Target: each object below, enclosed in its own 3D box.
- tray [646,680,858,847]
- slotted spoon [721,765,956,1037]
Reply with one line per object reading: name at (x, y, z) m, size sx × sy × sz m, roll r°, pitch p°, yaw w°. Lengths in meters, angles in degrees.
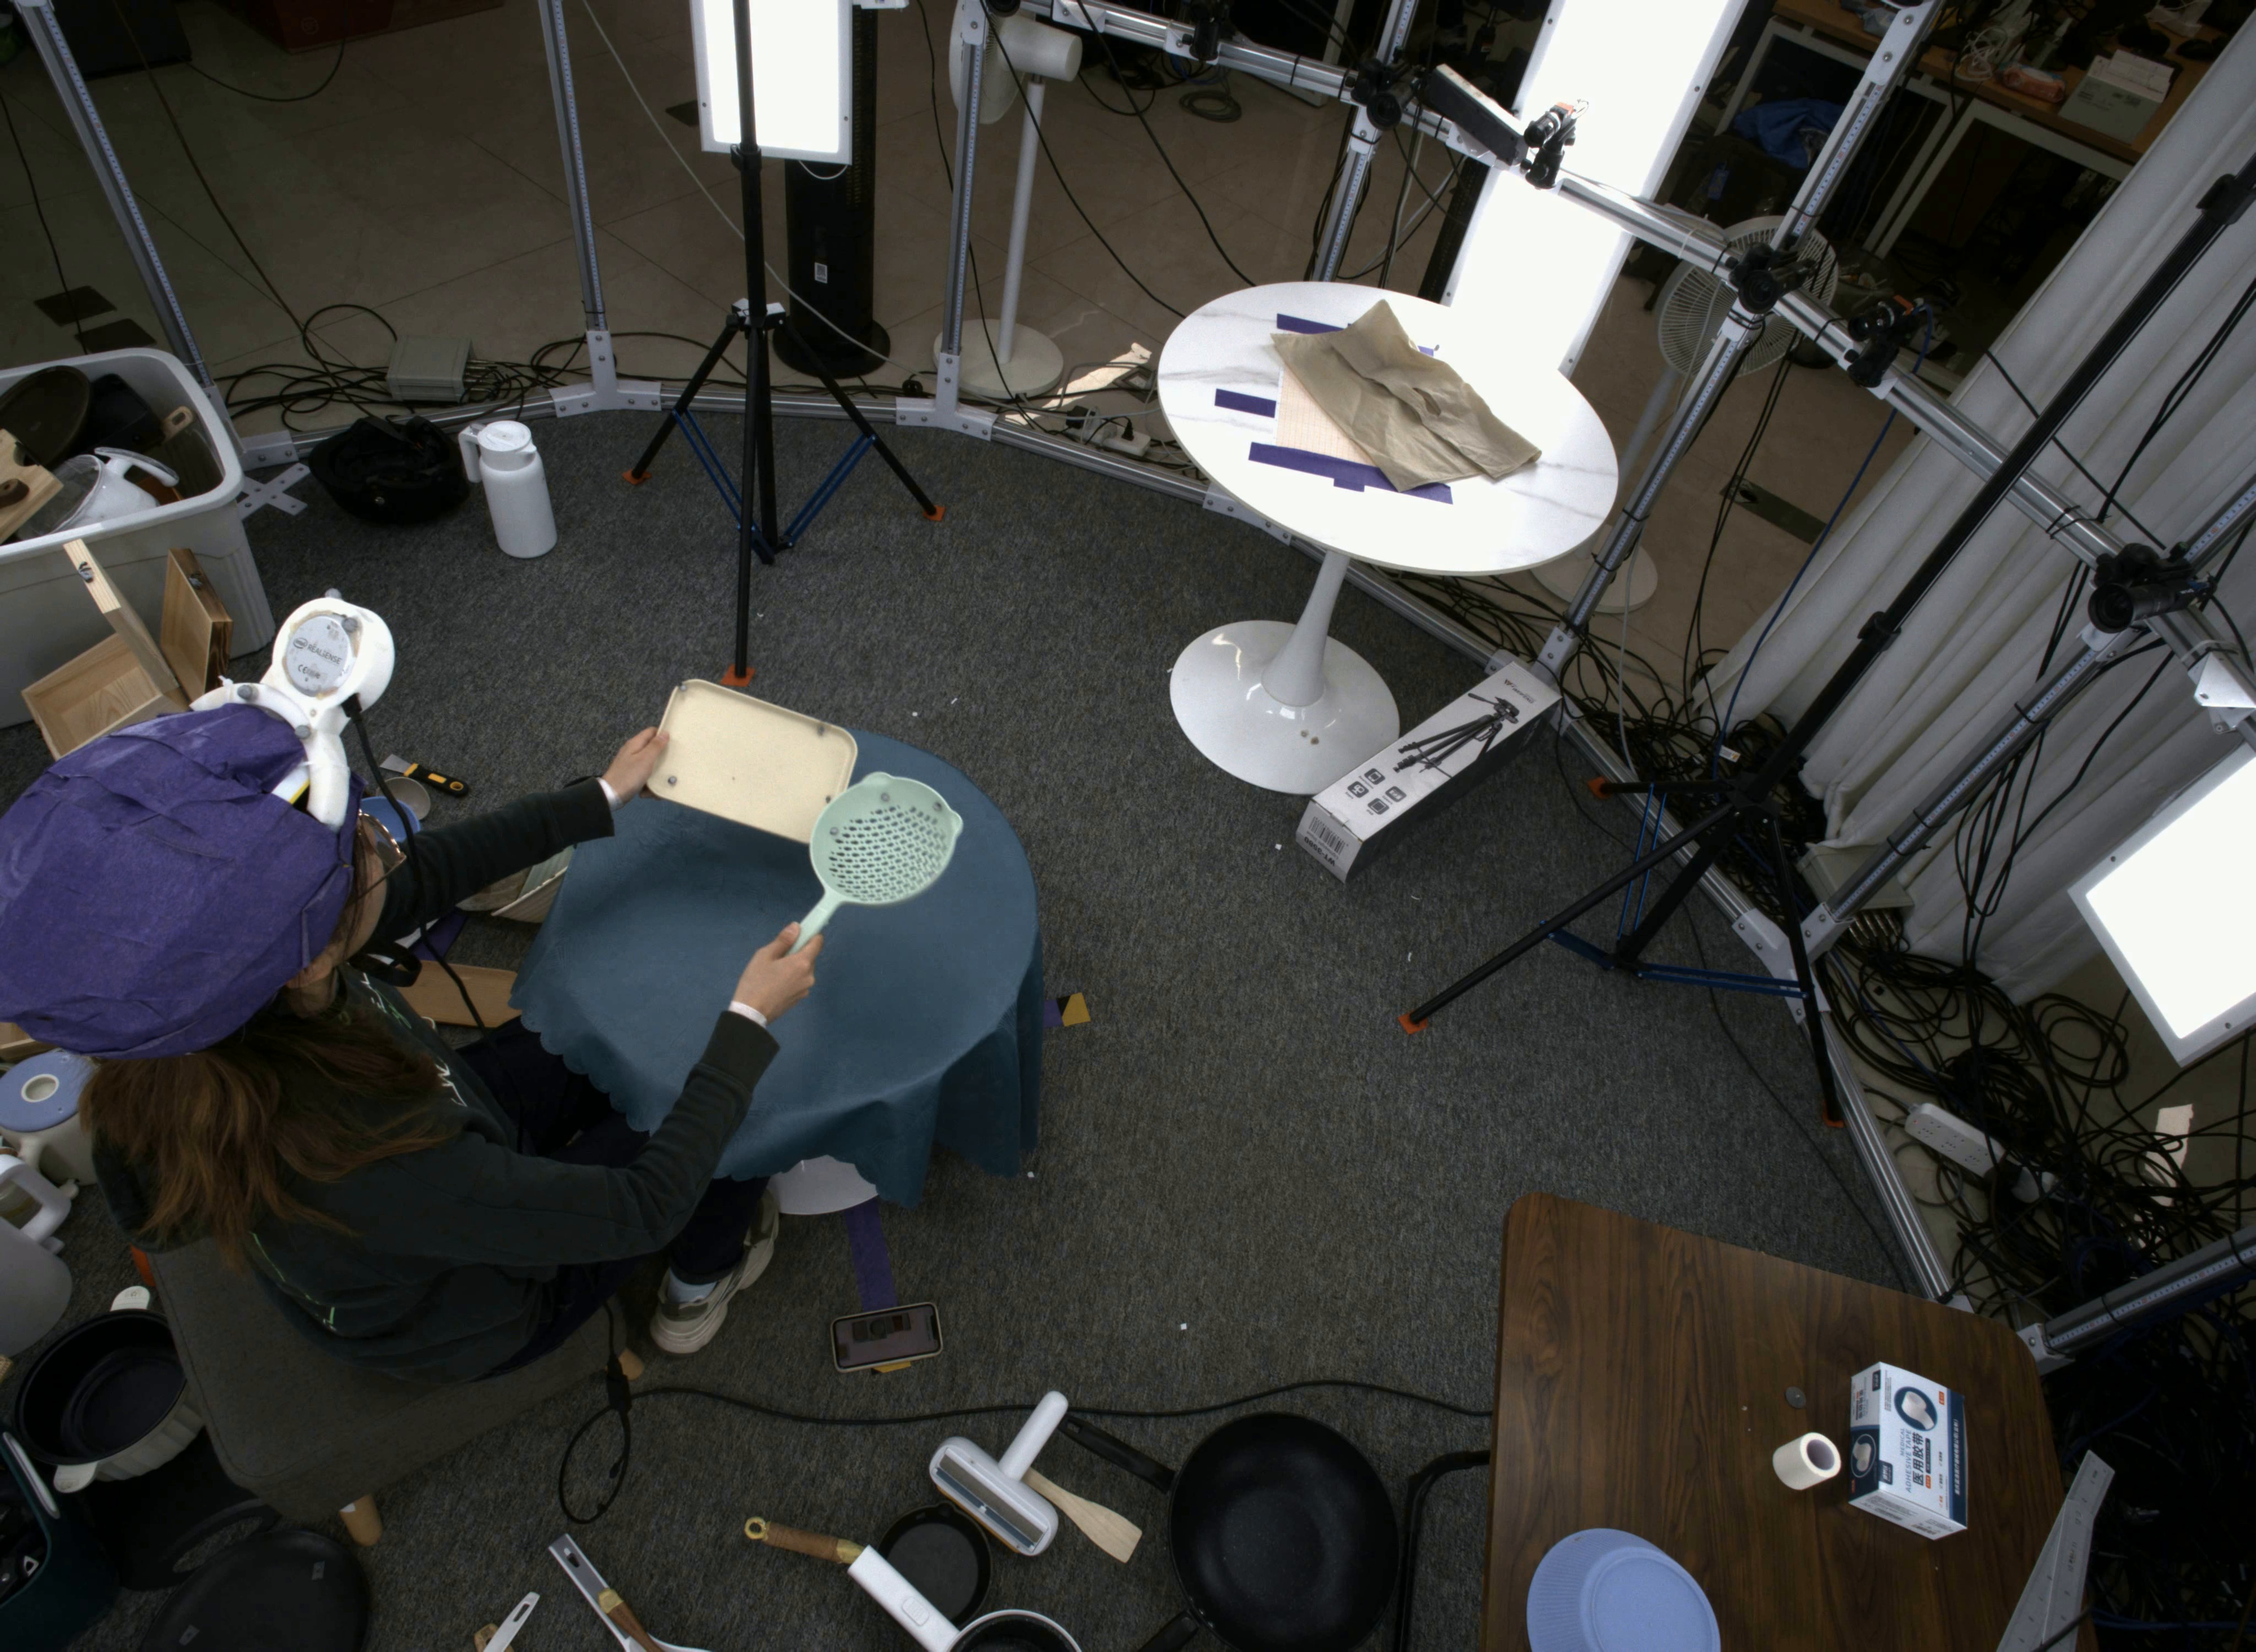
tray at (-0.465, -0.077, 1.607) m, size 0.242 × 0.017 × 0.170 m, roll 19°, pitch 62°, yaw -18°
slotted spoon at (-0.339, 0.084, 1.463) m, size 0.165 × 0.077 × 0.358 m, roll 27°, pitch 56°, yaw 19°
